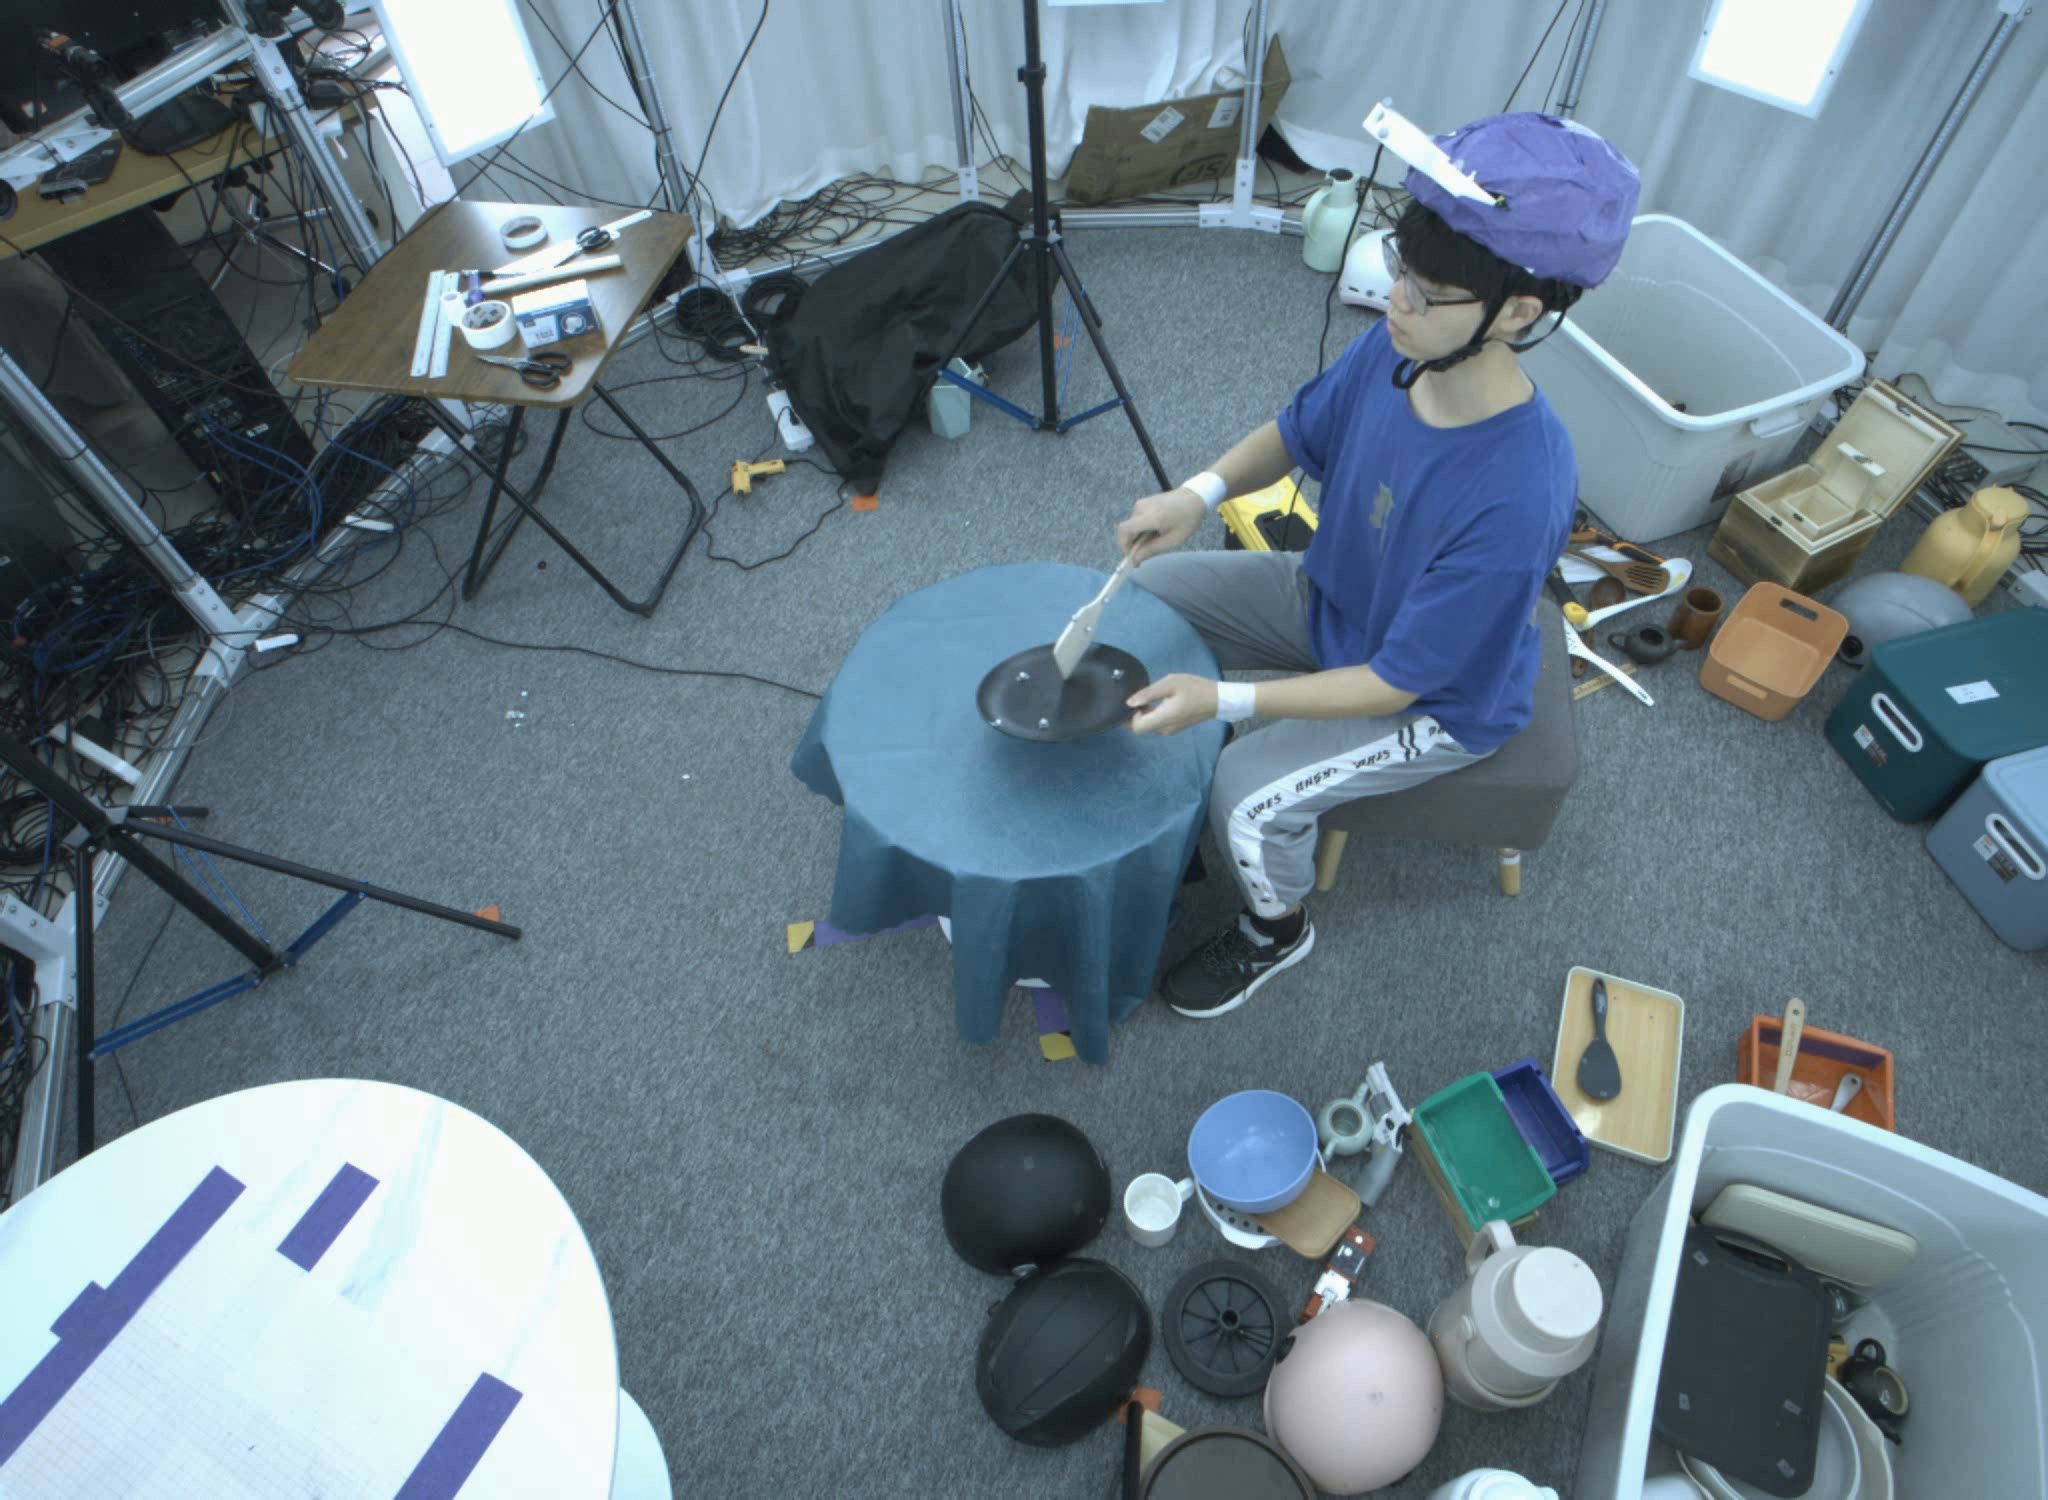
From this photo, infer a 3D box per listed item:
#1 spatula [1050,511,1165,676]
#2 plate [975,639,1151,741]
[{"bbox_3d":[0.122,-0.234,1.757,0.010,0.073,0.293,26,70,28],"label":"spatula"},{"bbox_3d":[0.054,-0.079,1.704,0.244,0.024,0.242,-5,37,5],"label":"plate"}]
